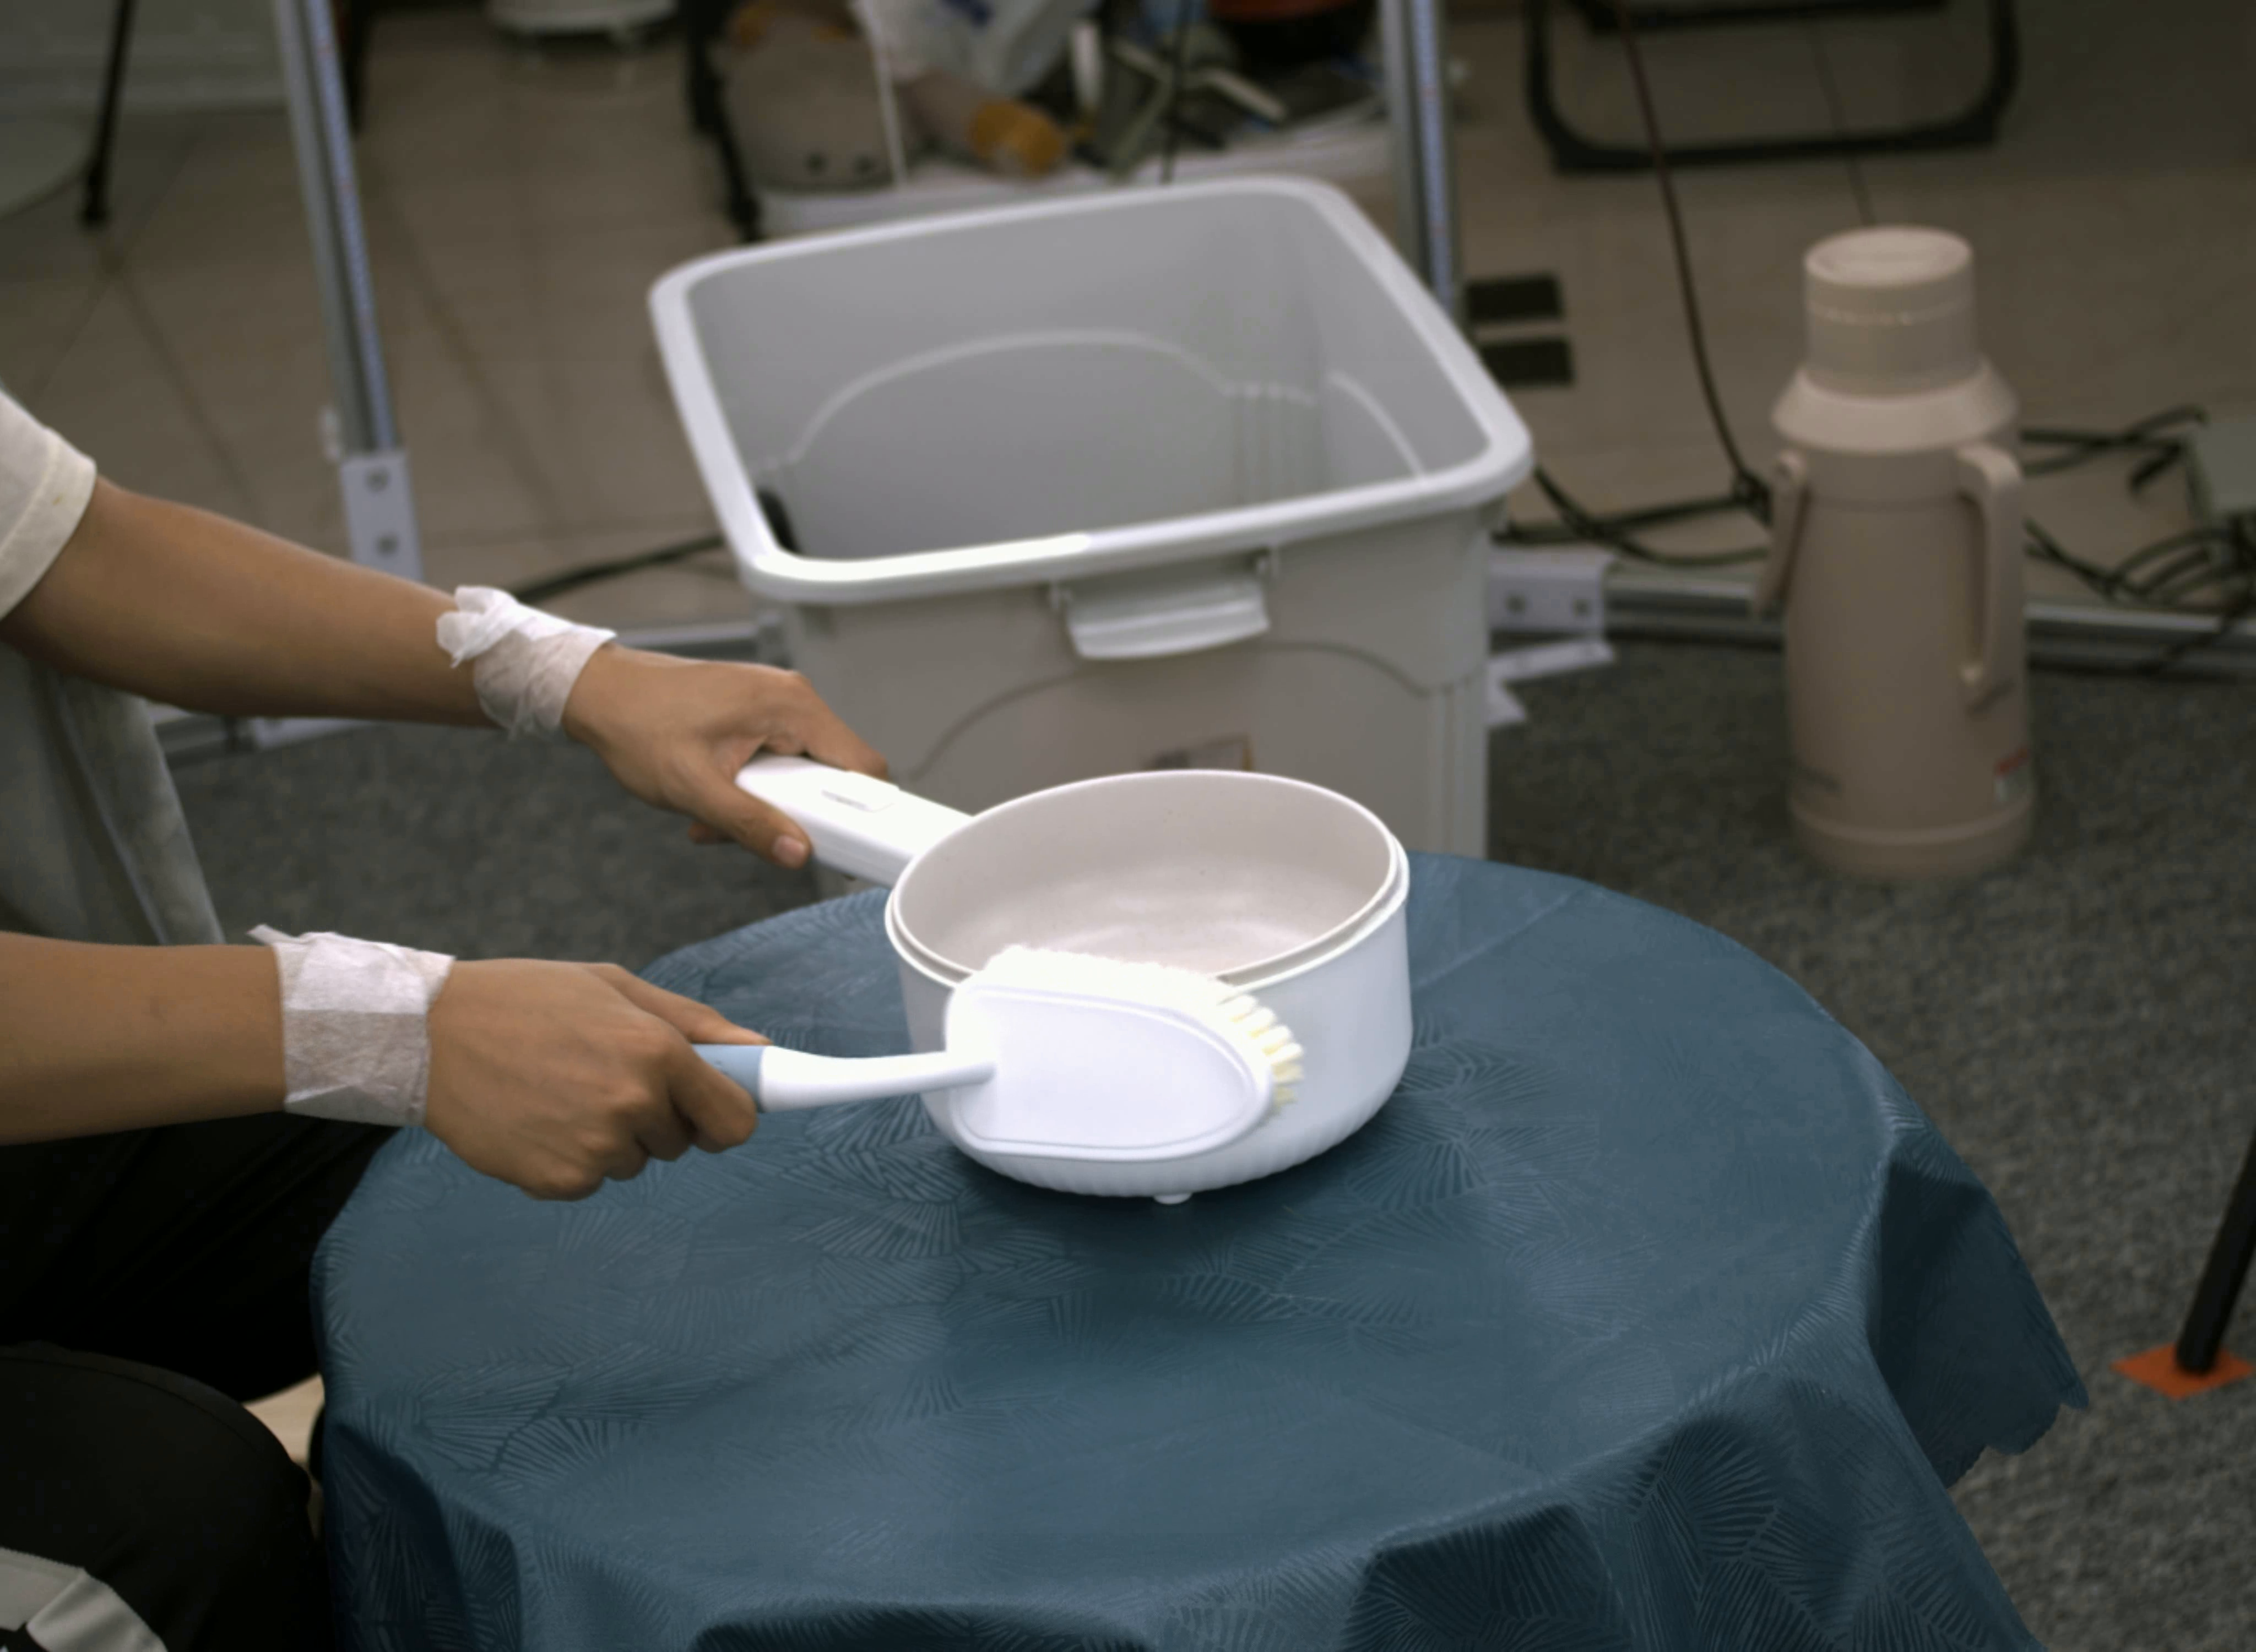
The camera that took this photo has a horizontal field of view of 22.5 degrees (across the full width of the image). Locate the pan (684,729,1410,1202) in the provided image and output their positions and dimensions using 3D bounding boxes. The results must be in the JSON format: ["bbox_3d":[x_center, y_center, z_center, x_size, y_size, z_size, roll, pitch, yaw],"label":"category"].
[{"bbox_3d":[-0.044,0.047,2.237,0.352,0.104,0.199,18,34,42],"label":"pan"}]

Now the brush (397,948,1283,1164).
[{"bbox_3d":[-0.103,0.080,2.076,0.325,0.086,0.082,1,66,8],"label":"brush"}]
